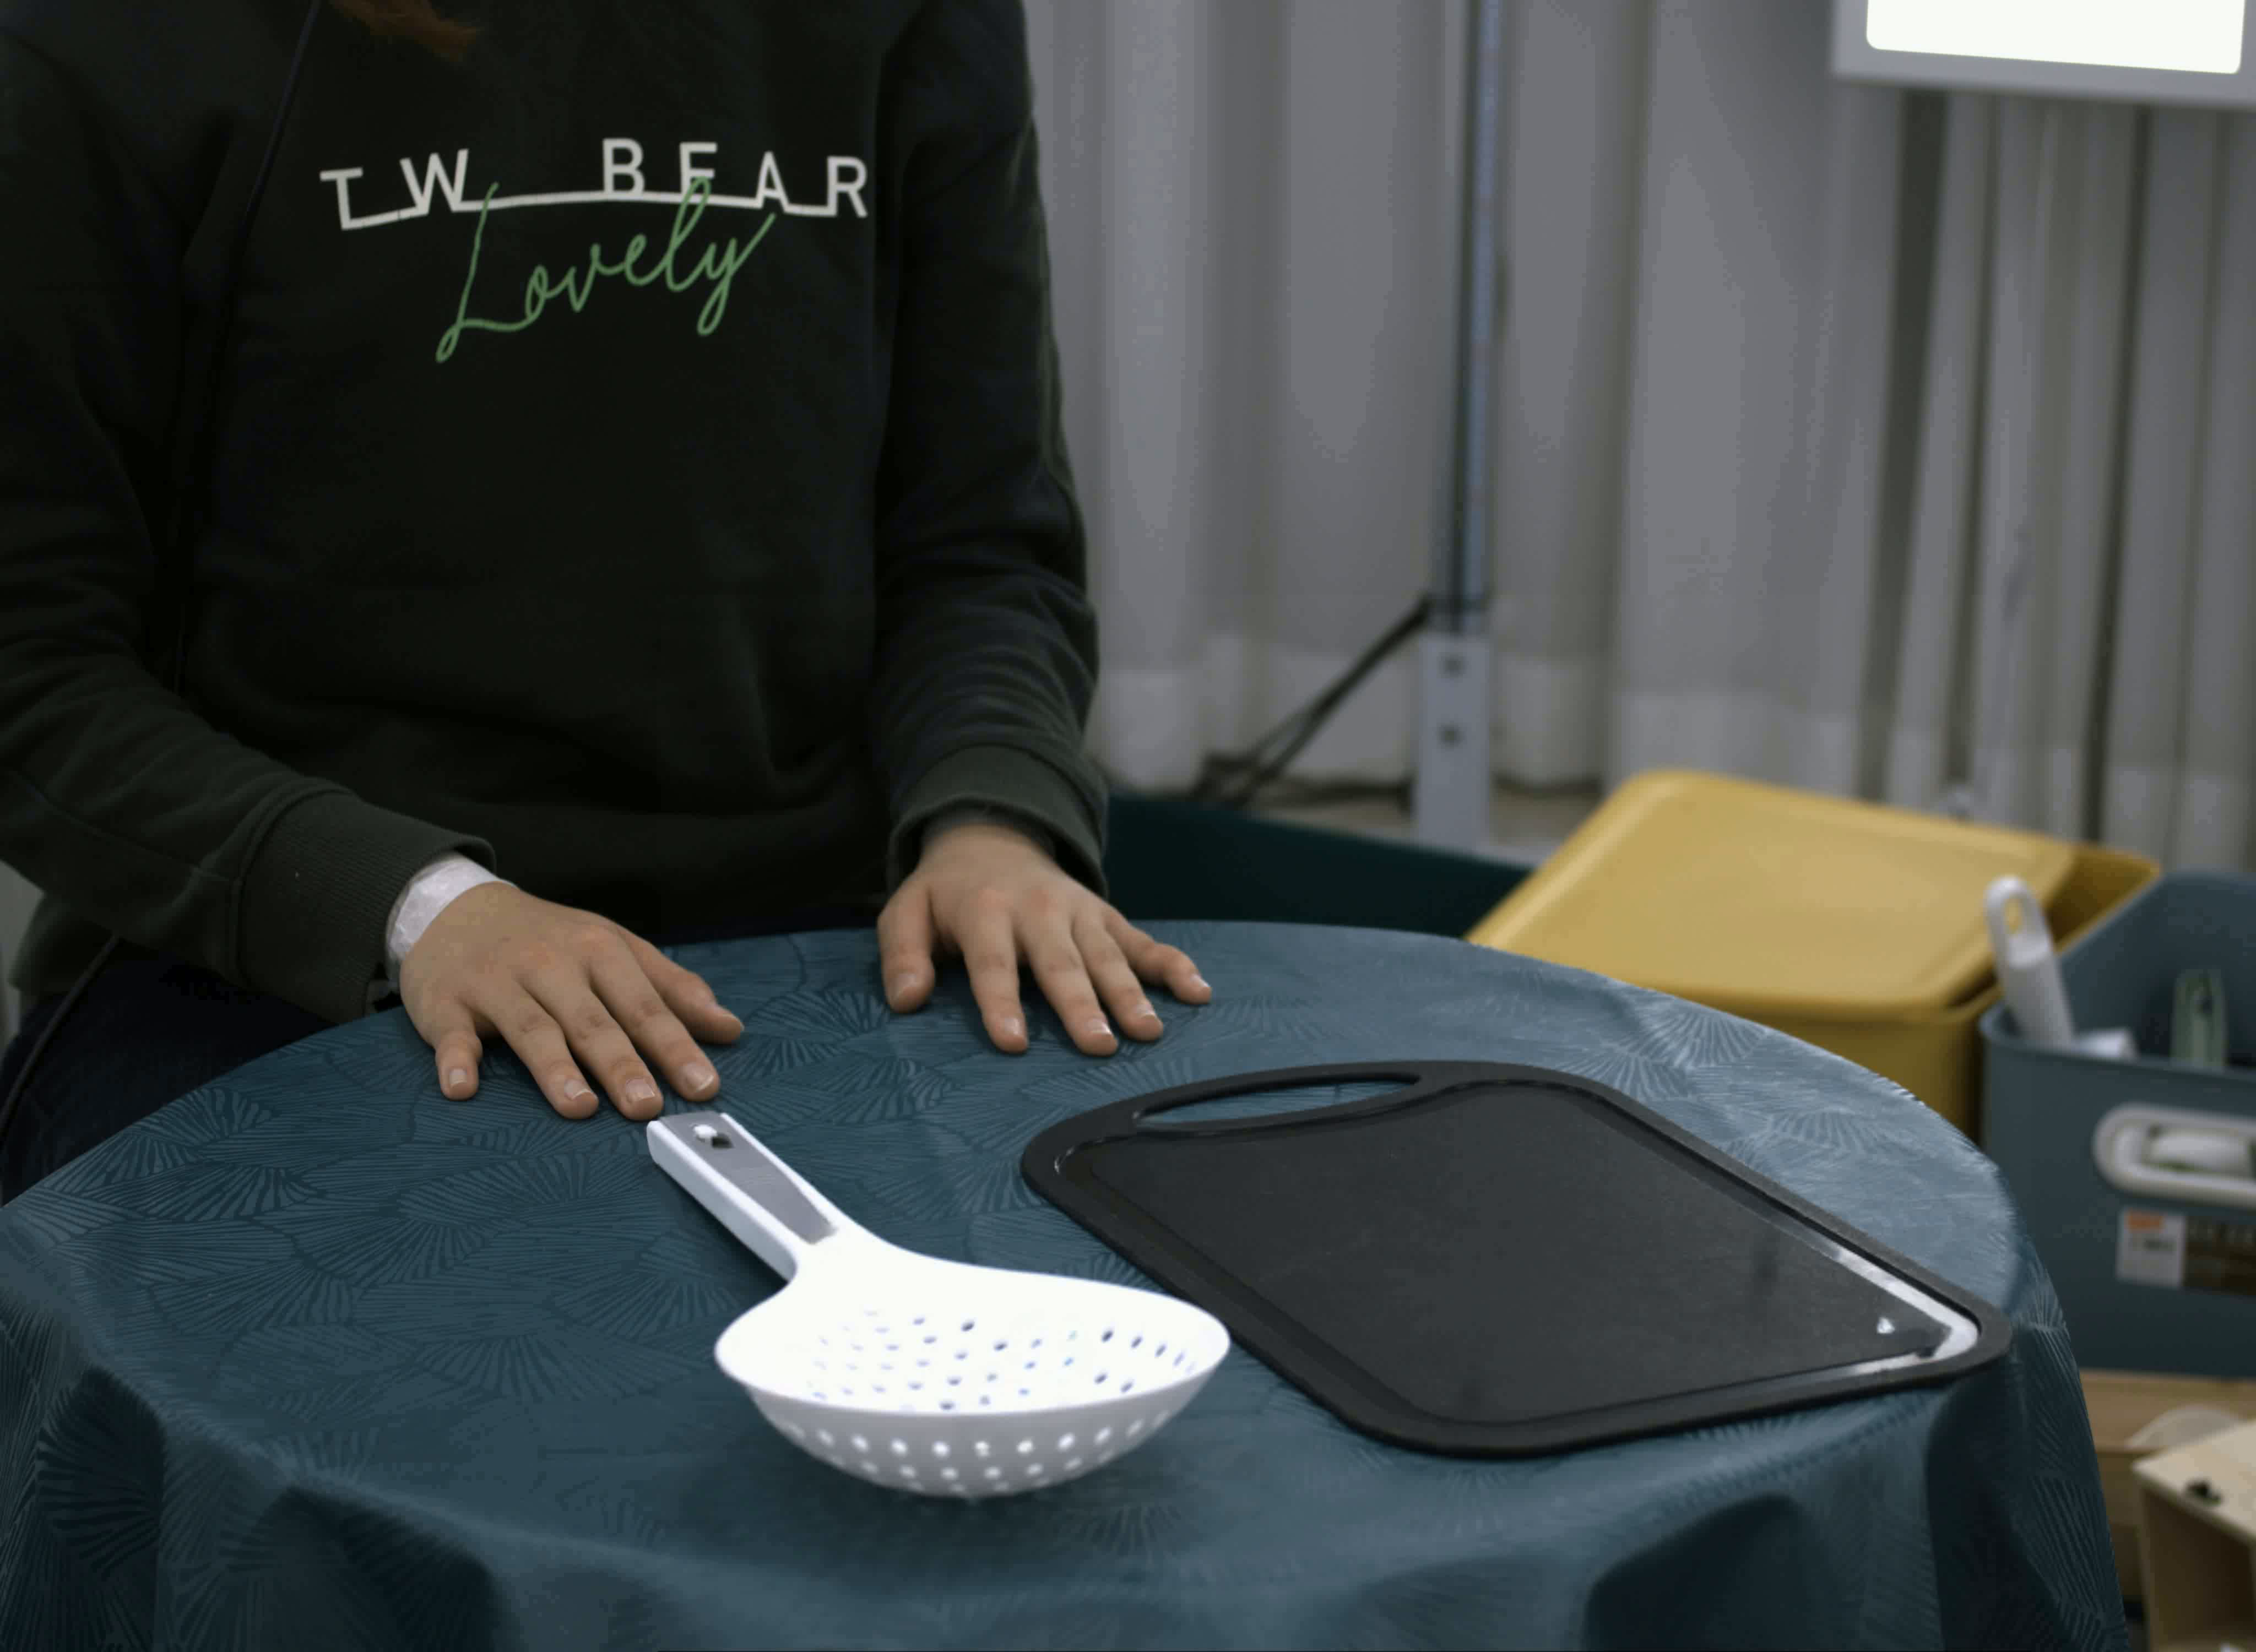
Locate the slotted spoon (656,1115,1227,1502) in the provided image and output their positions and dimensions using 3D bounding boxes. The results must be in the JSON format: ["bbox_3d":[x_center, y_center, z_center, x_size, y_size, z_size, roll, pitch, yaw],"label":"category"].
[{"bbox_3d":[-0.078,0.127,1.490,0.136,0.046,0.346,-3,15,-20],"label":"slotted spoon"}]

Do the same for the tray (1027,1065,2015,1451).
[{"bbox_3d":[0.107,0.122,1.586,0.212,0.010,0.321,-6,17,-24],"label":"tray"}]
